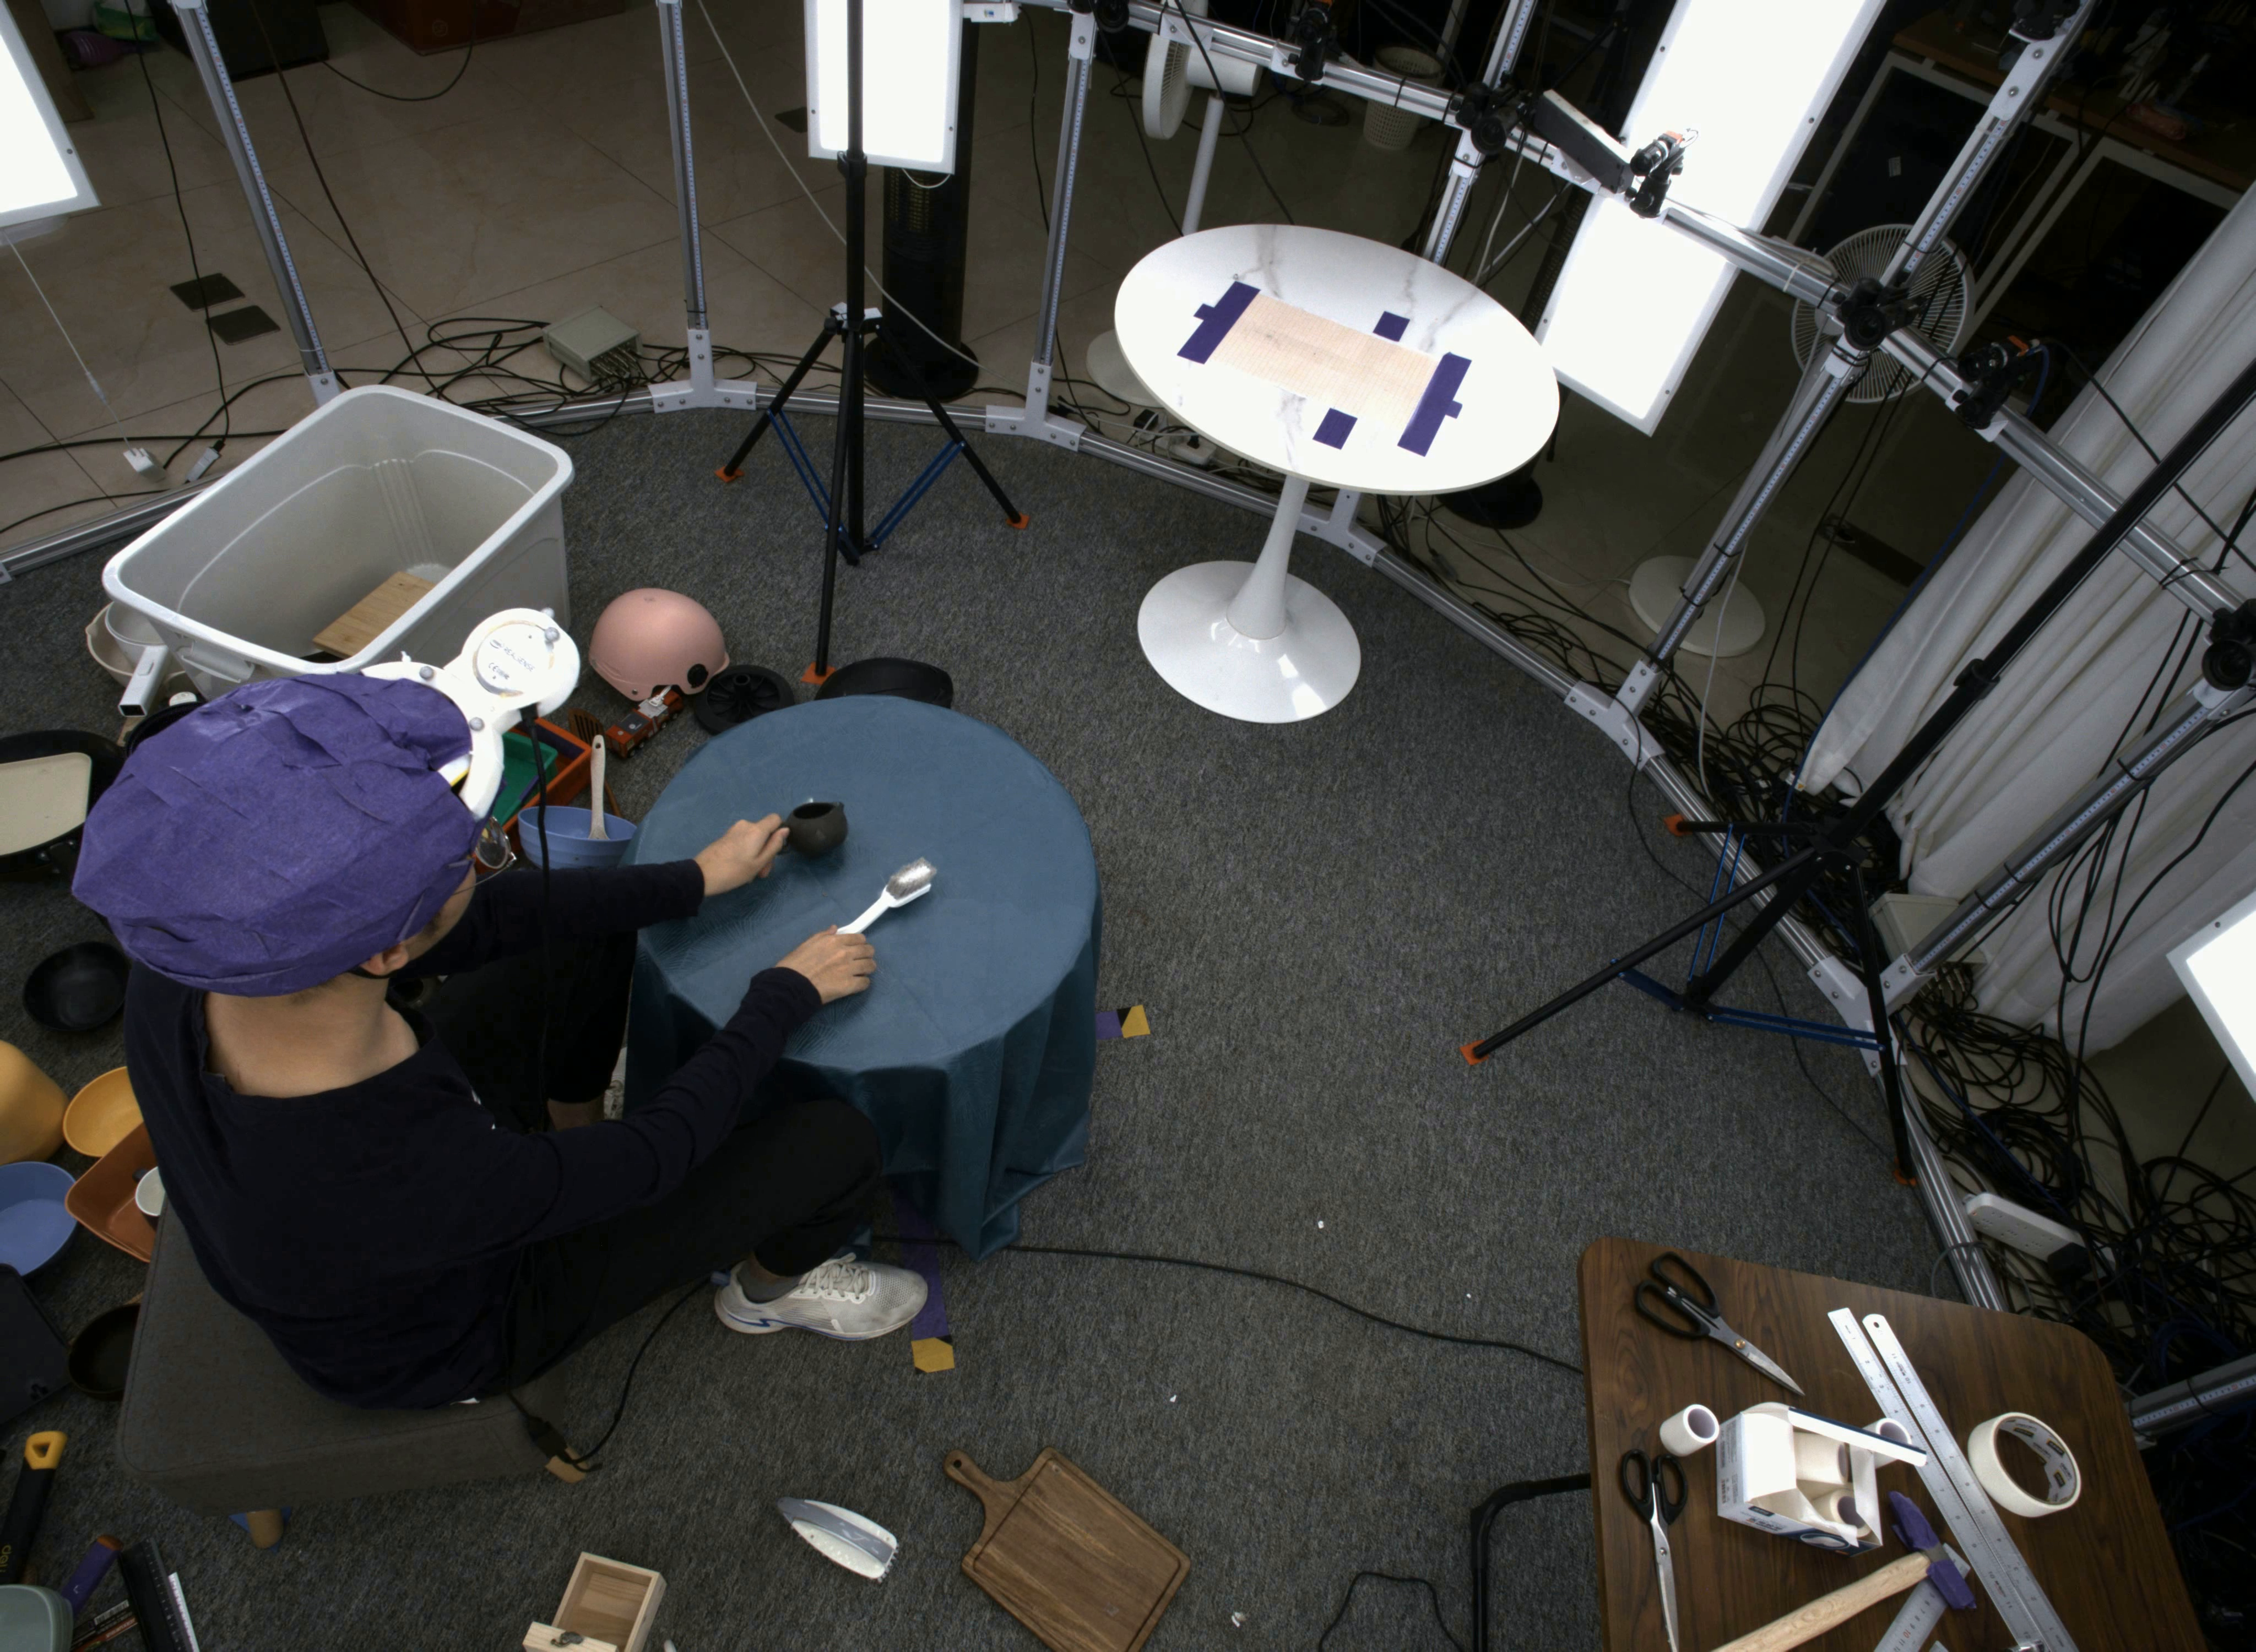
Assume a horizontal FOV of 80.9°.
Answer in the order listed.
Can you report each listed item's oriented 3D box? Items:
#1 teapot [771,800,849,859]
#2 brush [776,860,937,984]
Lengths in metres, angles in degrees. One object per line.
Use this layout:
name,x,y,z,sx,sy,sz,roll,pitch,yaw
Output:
teapot,-0.412,0.007,1.674,0.080,0.055,0.115,22,36,38
brush,-0.340,0.115,1.630,0.034,0.051,0.244,44,56,16
